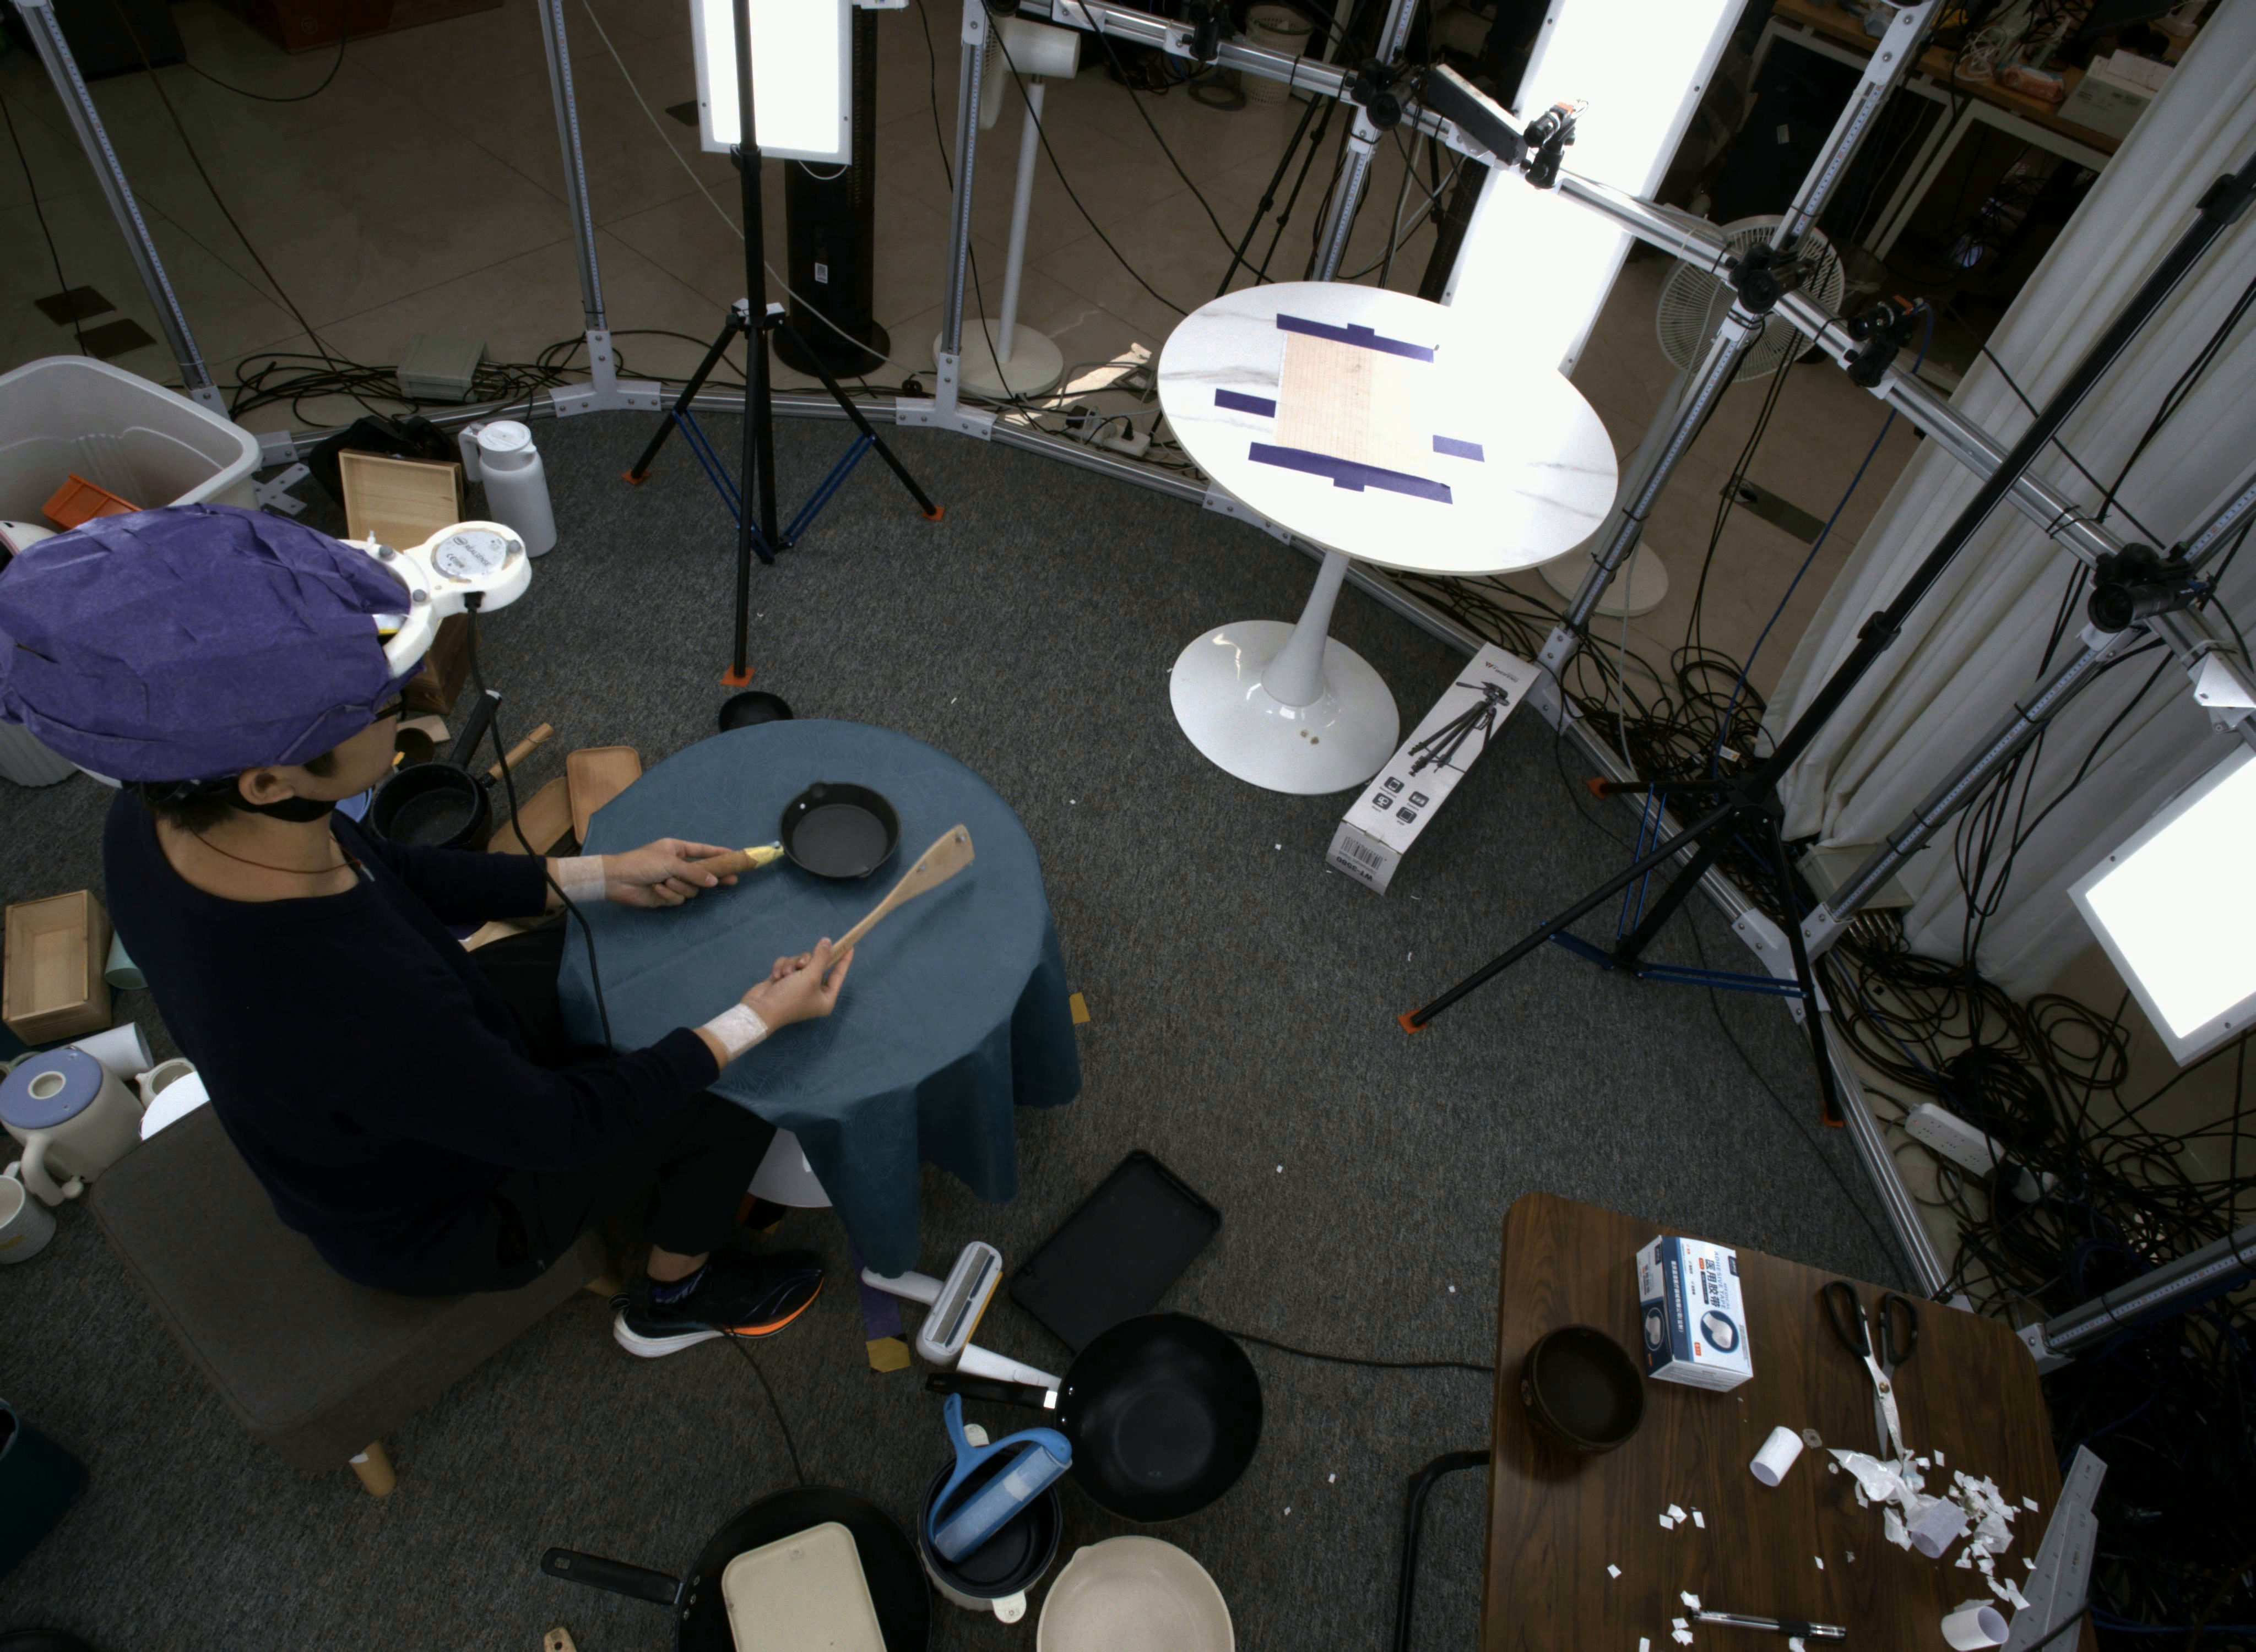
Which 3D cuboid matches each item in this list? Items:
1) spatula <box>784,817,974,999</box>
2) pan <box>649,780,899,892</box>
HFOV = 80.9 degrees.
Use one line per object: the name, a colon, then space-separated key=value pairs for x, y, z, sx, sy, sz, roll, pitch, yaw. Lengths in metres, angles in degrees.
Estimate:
spatula: x=-0.299 y=0.098 z=1.584 sx=0.016 sy=0.082 sz=0.327 roll=26 pitch=50 yaw=24
pan: x=-0.450 y=0.029 z=1.652 sx=0.326 sy=0.050 sz=0.165 roll=-17 pitch=60 yaw=-27
